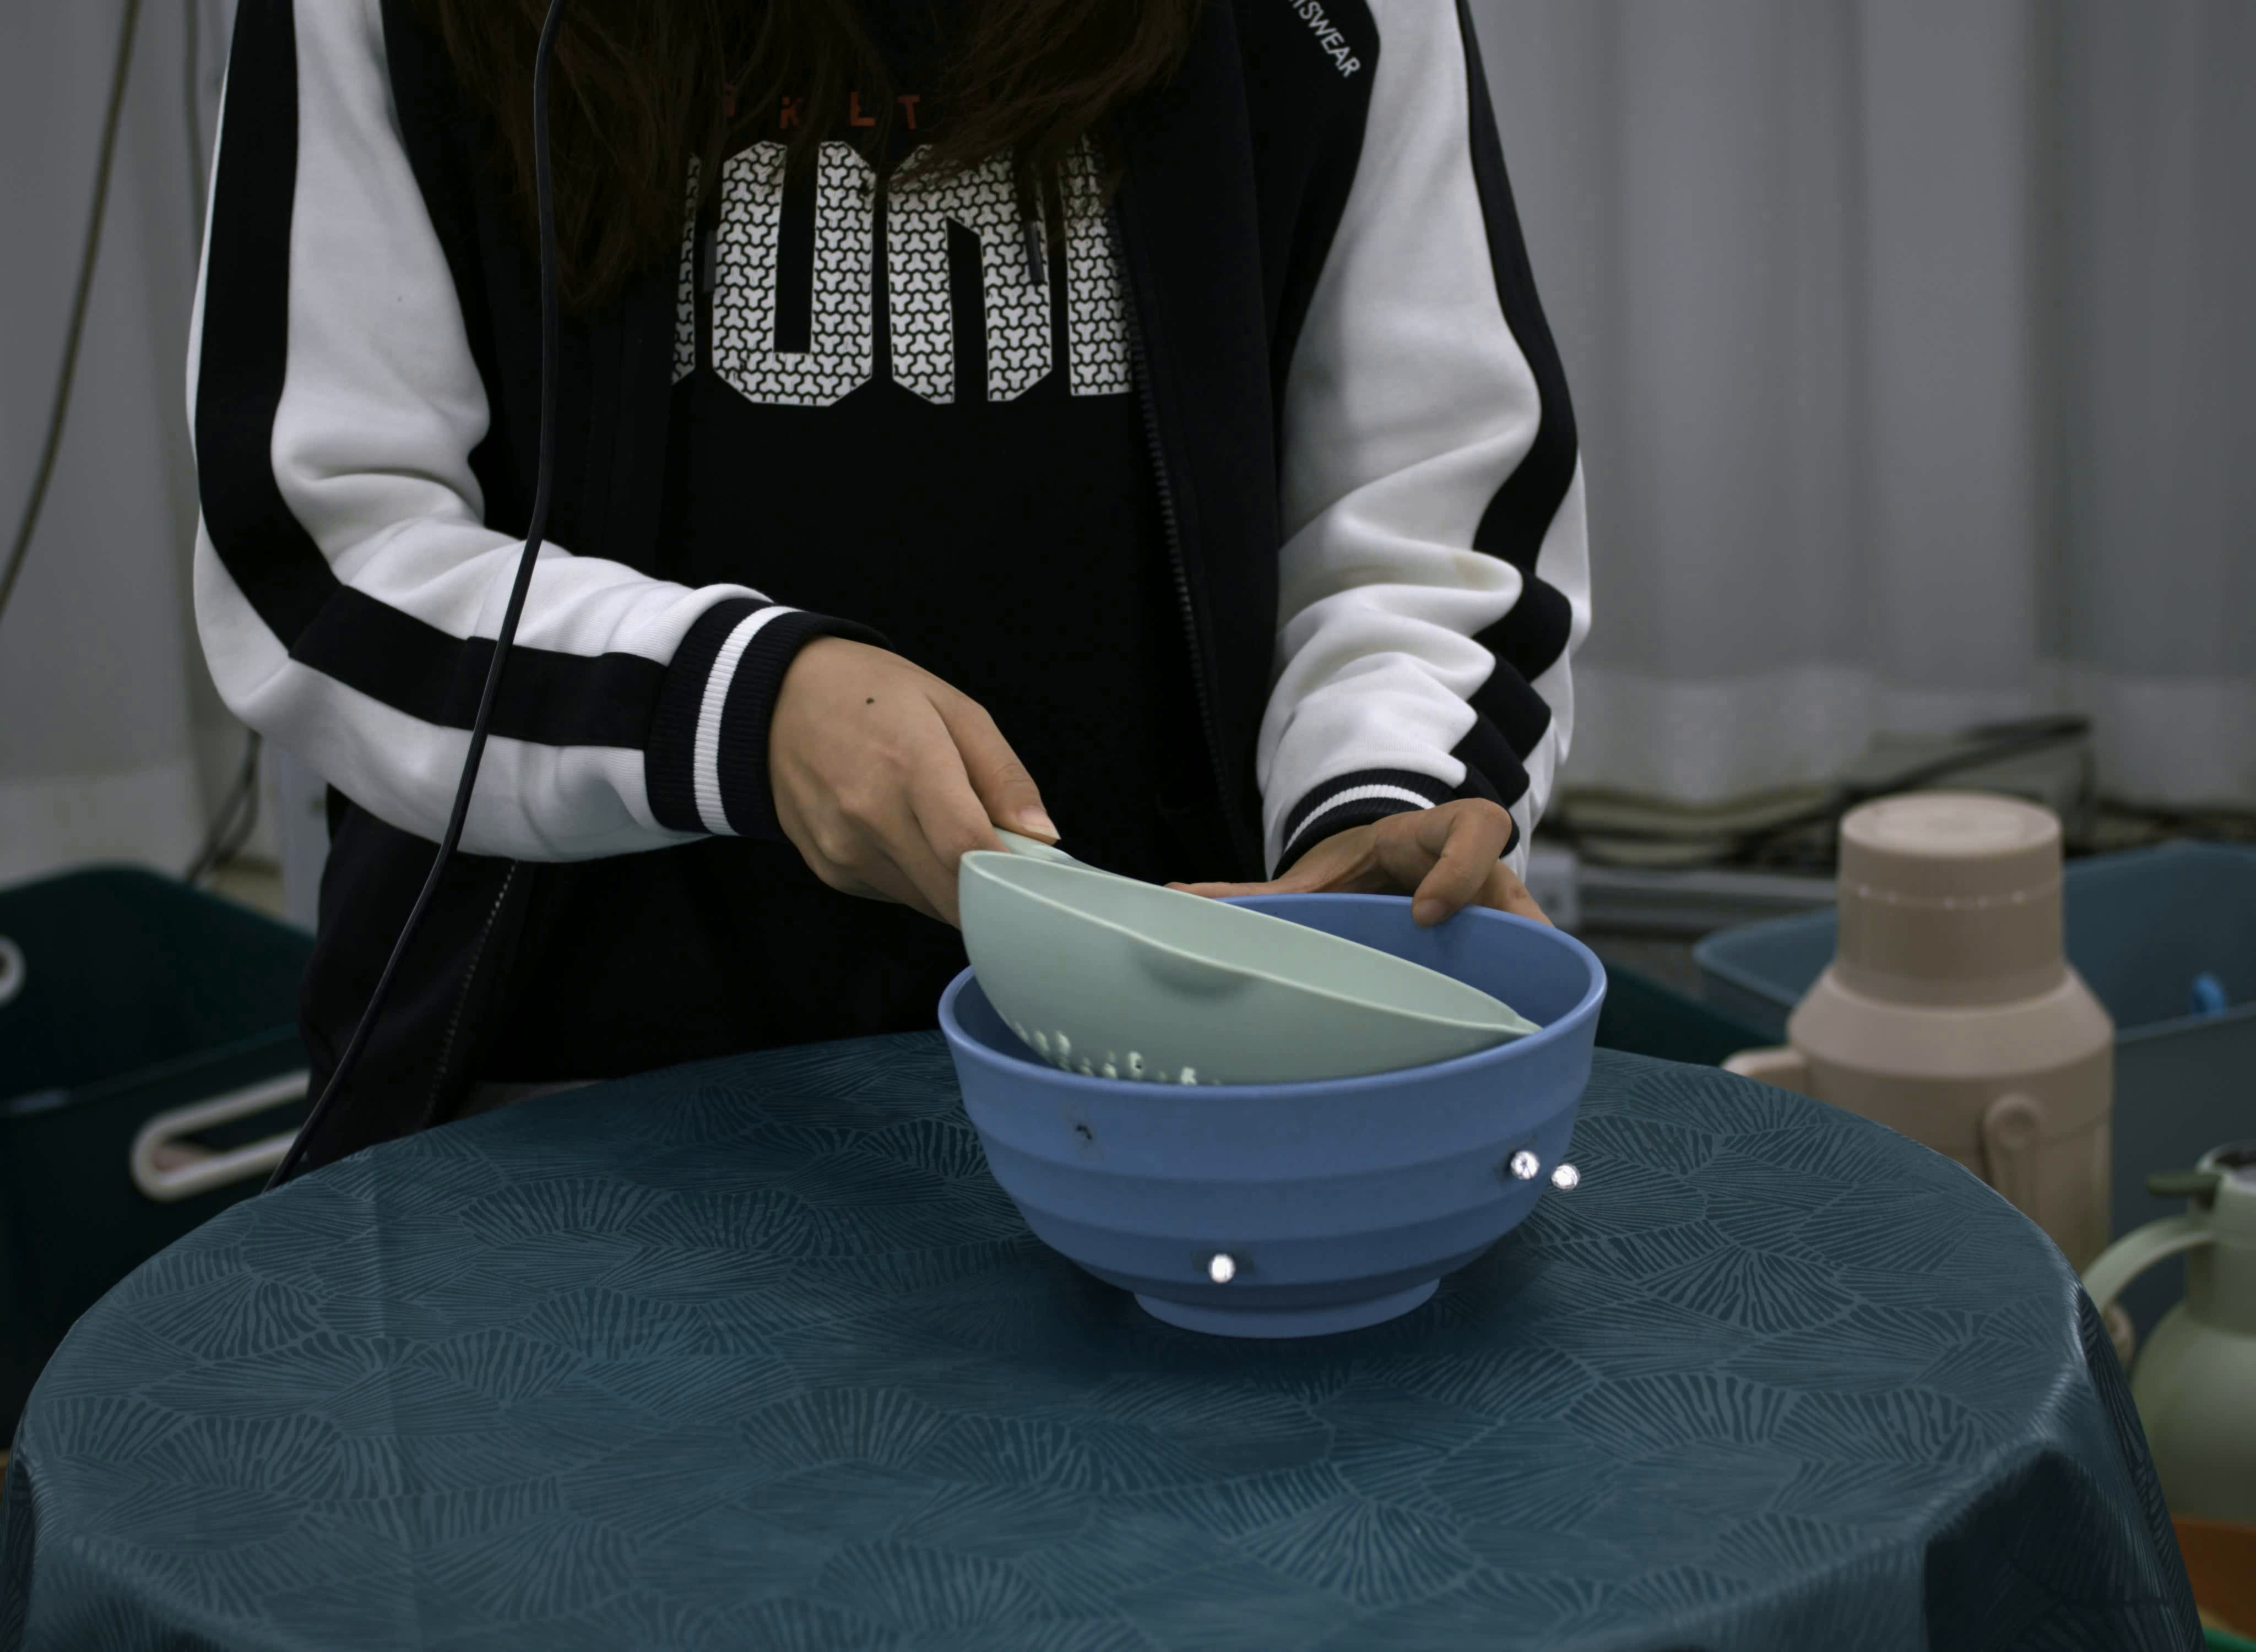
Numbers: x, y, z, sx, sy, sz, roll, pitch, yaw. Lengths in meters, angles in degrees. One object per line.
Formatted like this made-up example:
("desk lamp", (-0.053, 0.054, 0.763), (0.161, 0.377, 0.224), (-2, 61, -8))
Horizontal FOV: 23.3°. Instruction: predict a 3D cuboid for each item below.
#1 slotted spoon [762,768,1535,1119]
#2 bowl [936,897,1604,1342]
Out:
("slotted spoon", (-0.022, 0.025, 1.661), (0.168, 0.075, 0.362), (14, 12, -33))
("bowl", (0.044, 0.092, 1.610), (0.196, 0.095, 0.198), (-4, 14, 1))
